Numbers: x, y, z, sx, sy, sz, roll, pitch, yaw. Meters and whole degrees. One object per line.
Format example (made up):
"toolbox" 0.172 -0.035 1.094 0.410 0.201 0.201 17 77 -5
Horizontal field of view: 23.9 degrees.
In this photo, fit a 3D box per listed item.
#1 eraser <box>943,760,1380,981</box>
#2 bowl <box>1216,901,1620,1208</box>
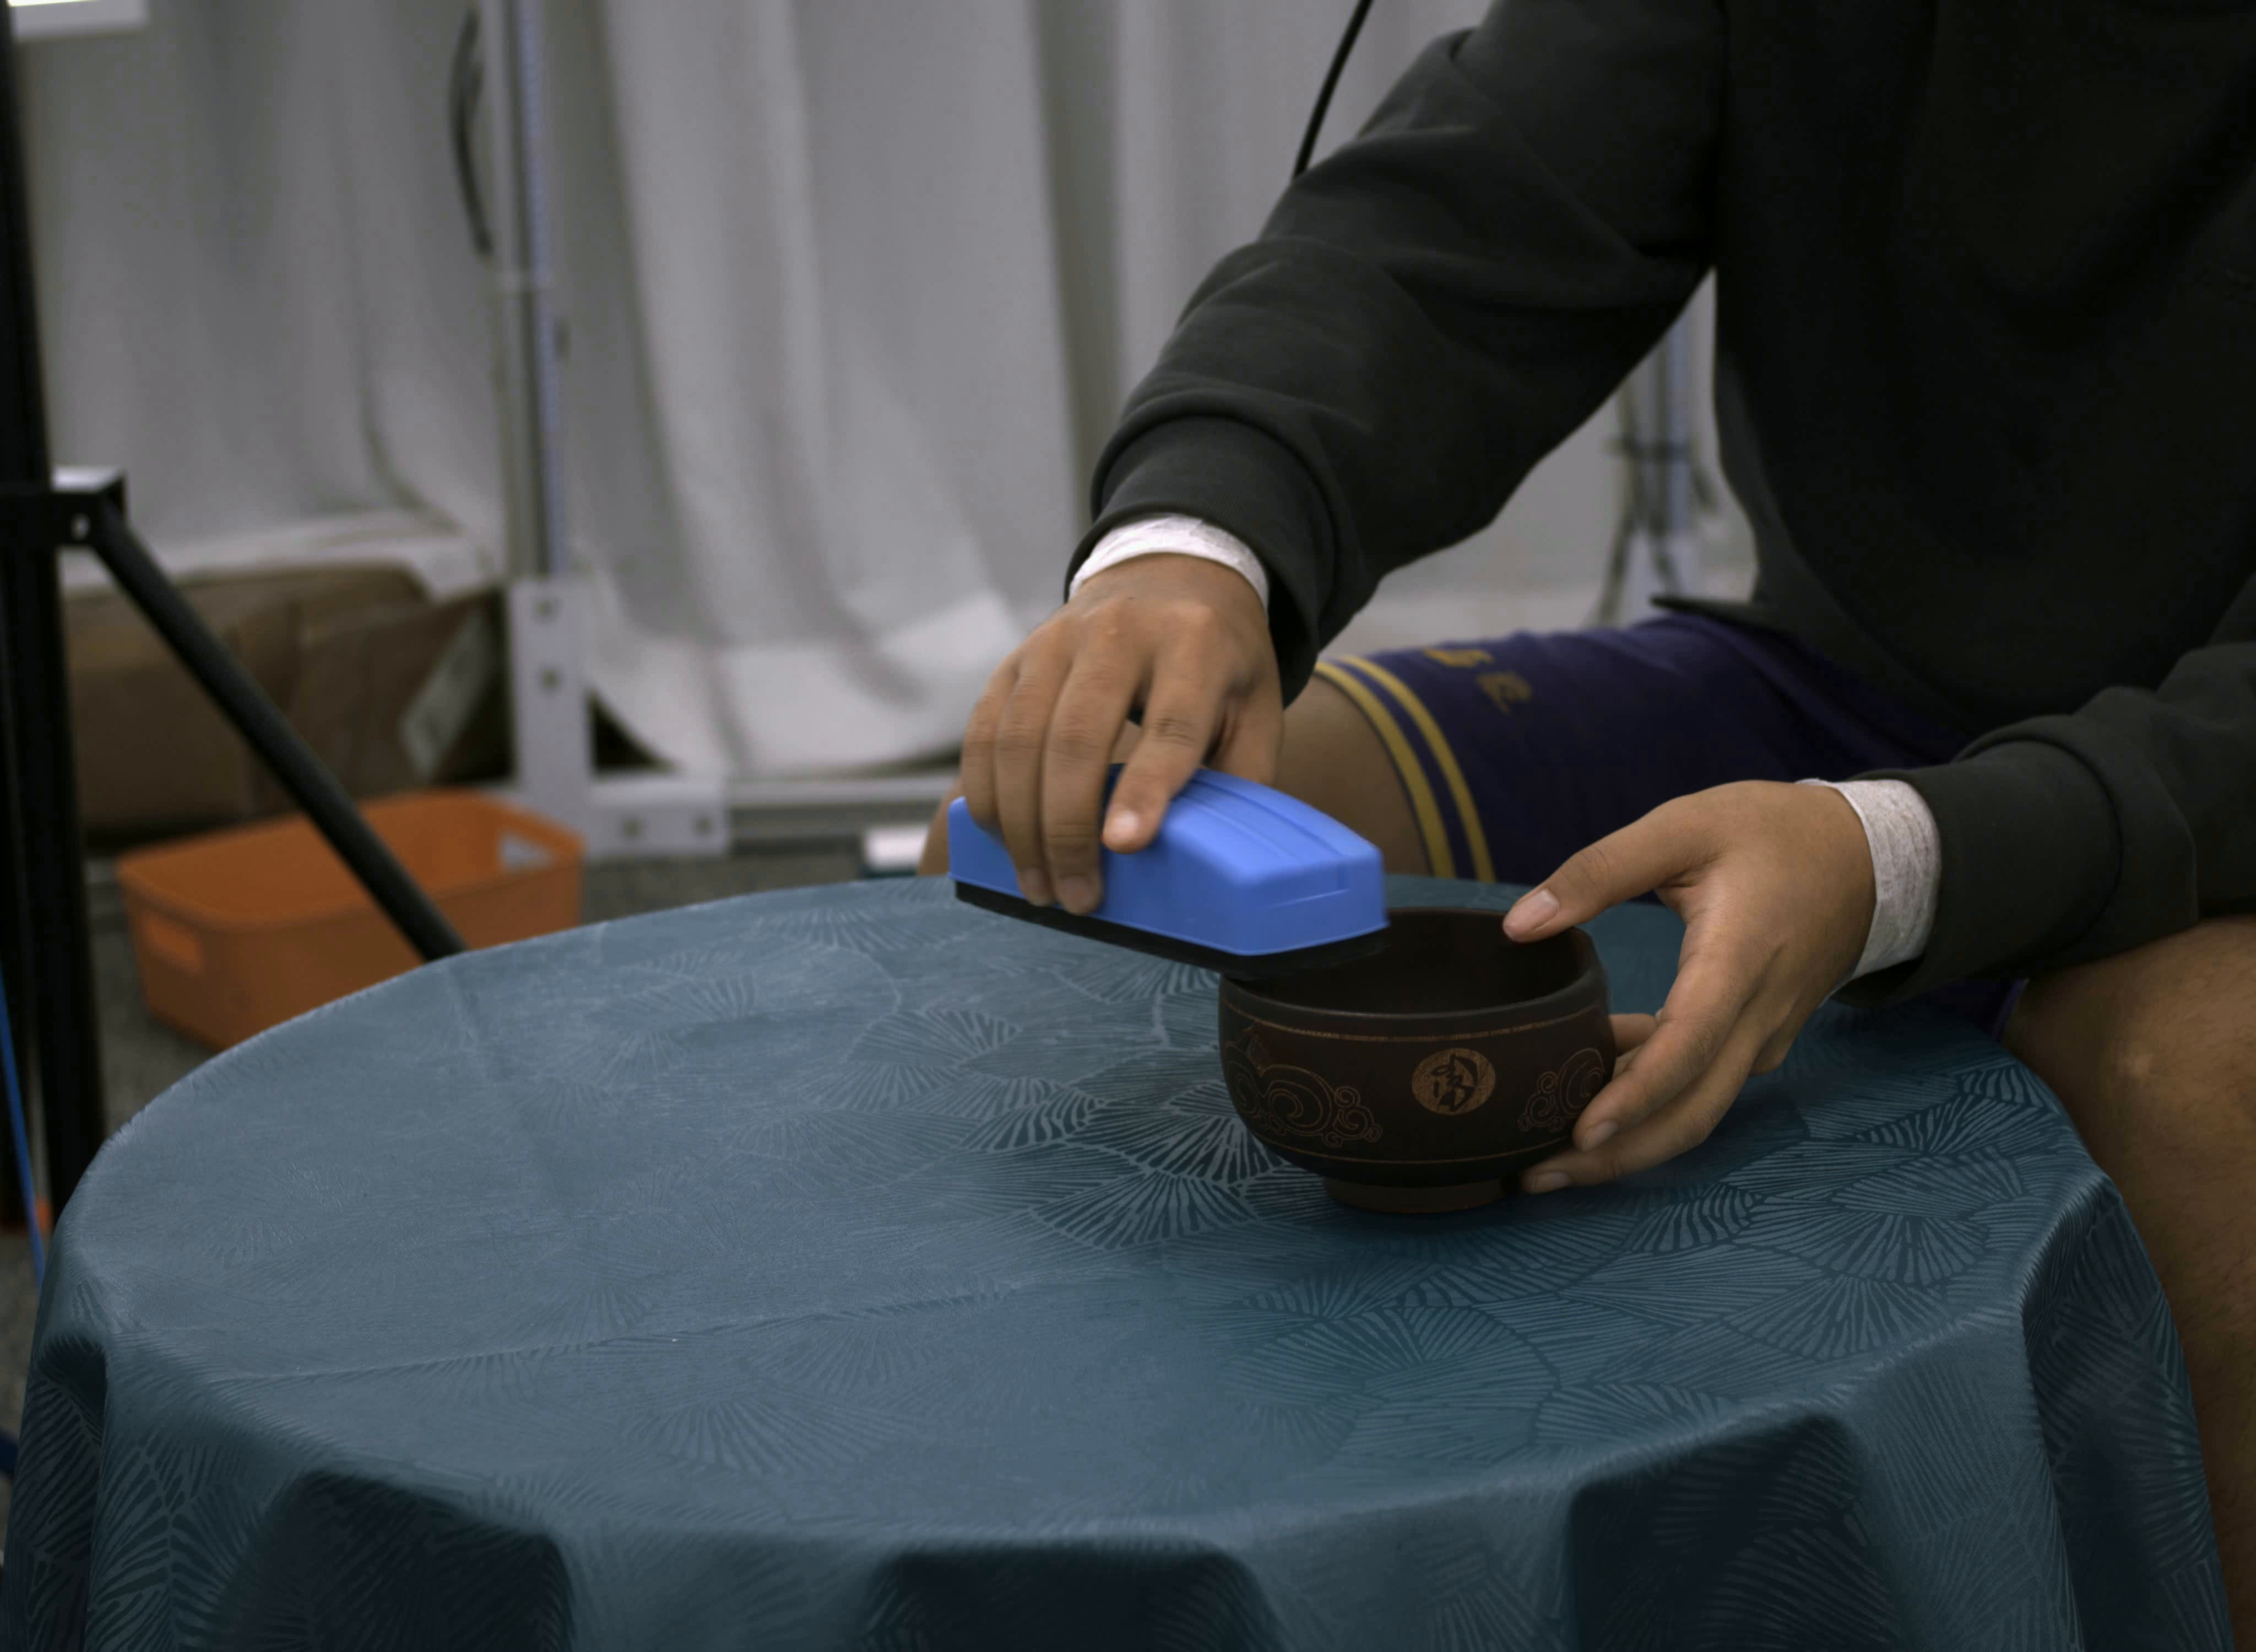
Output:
"eraser" 0.007 0.008 1.583 0.052 0.047 0.166 -14 16 -33
"bowl" 0.085 0.070 1.543 0.117 0.070 0.118 -2 14 -1
